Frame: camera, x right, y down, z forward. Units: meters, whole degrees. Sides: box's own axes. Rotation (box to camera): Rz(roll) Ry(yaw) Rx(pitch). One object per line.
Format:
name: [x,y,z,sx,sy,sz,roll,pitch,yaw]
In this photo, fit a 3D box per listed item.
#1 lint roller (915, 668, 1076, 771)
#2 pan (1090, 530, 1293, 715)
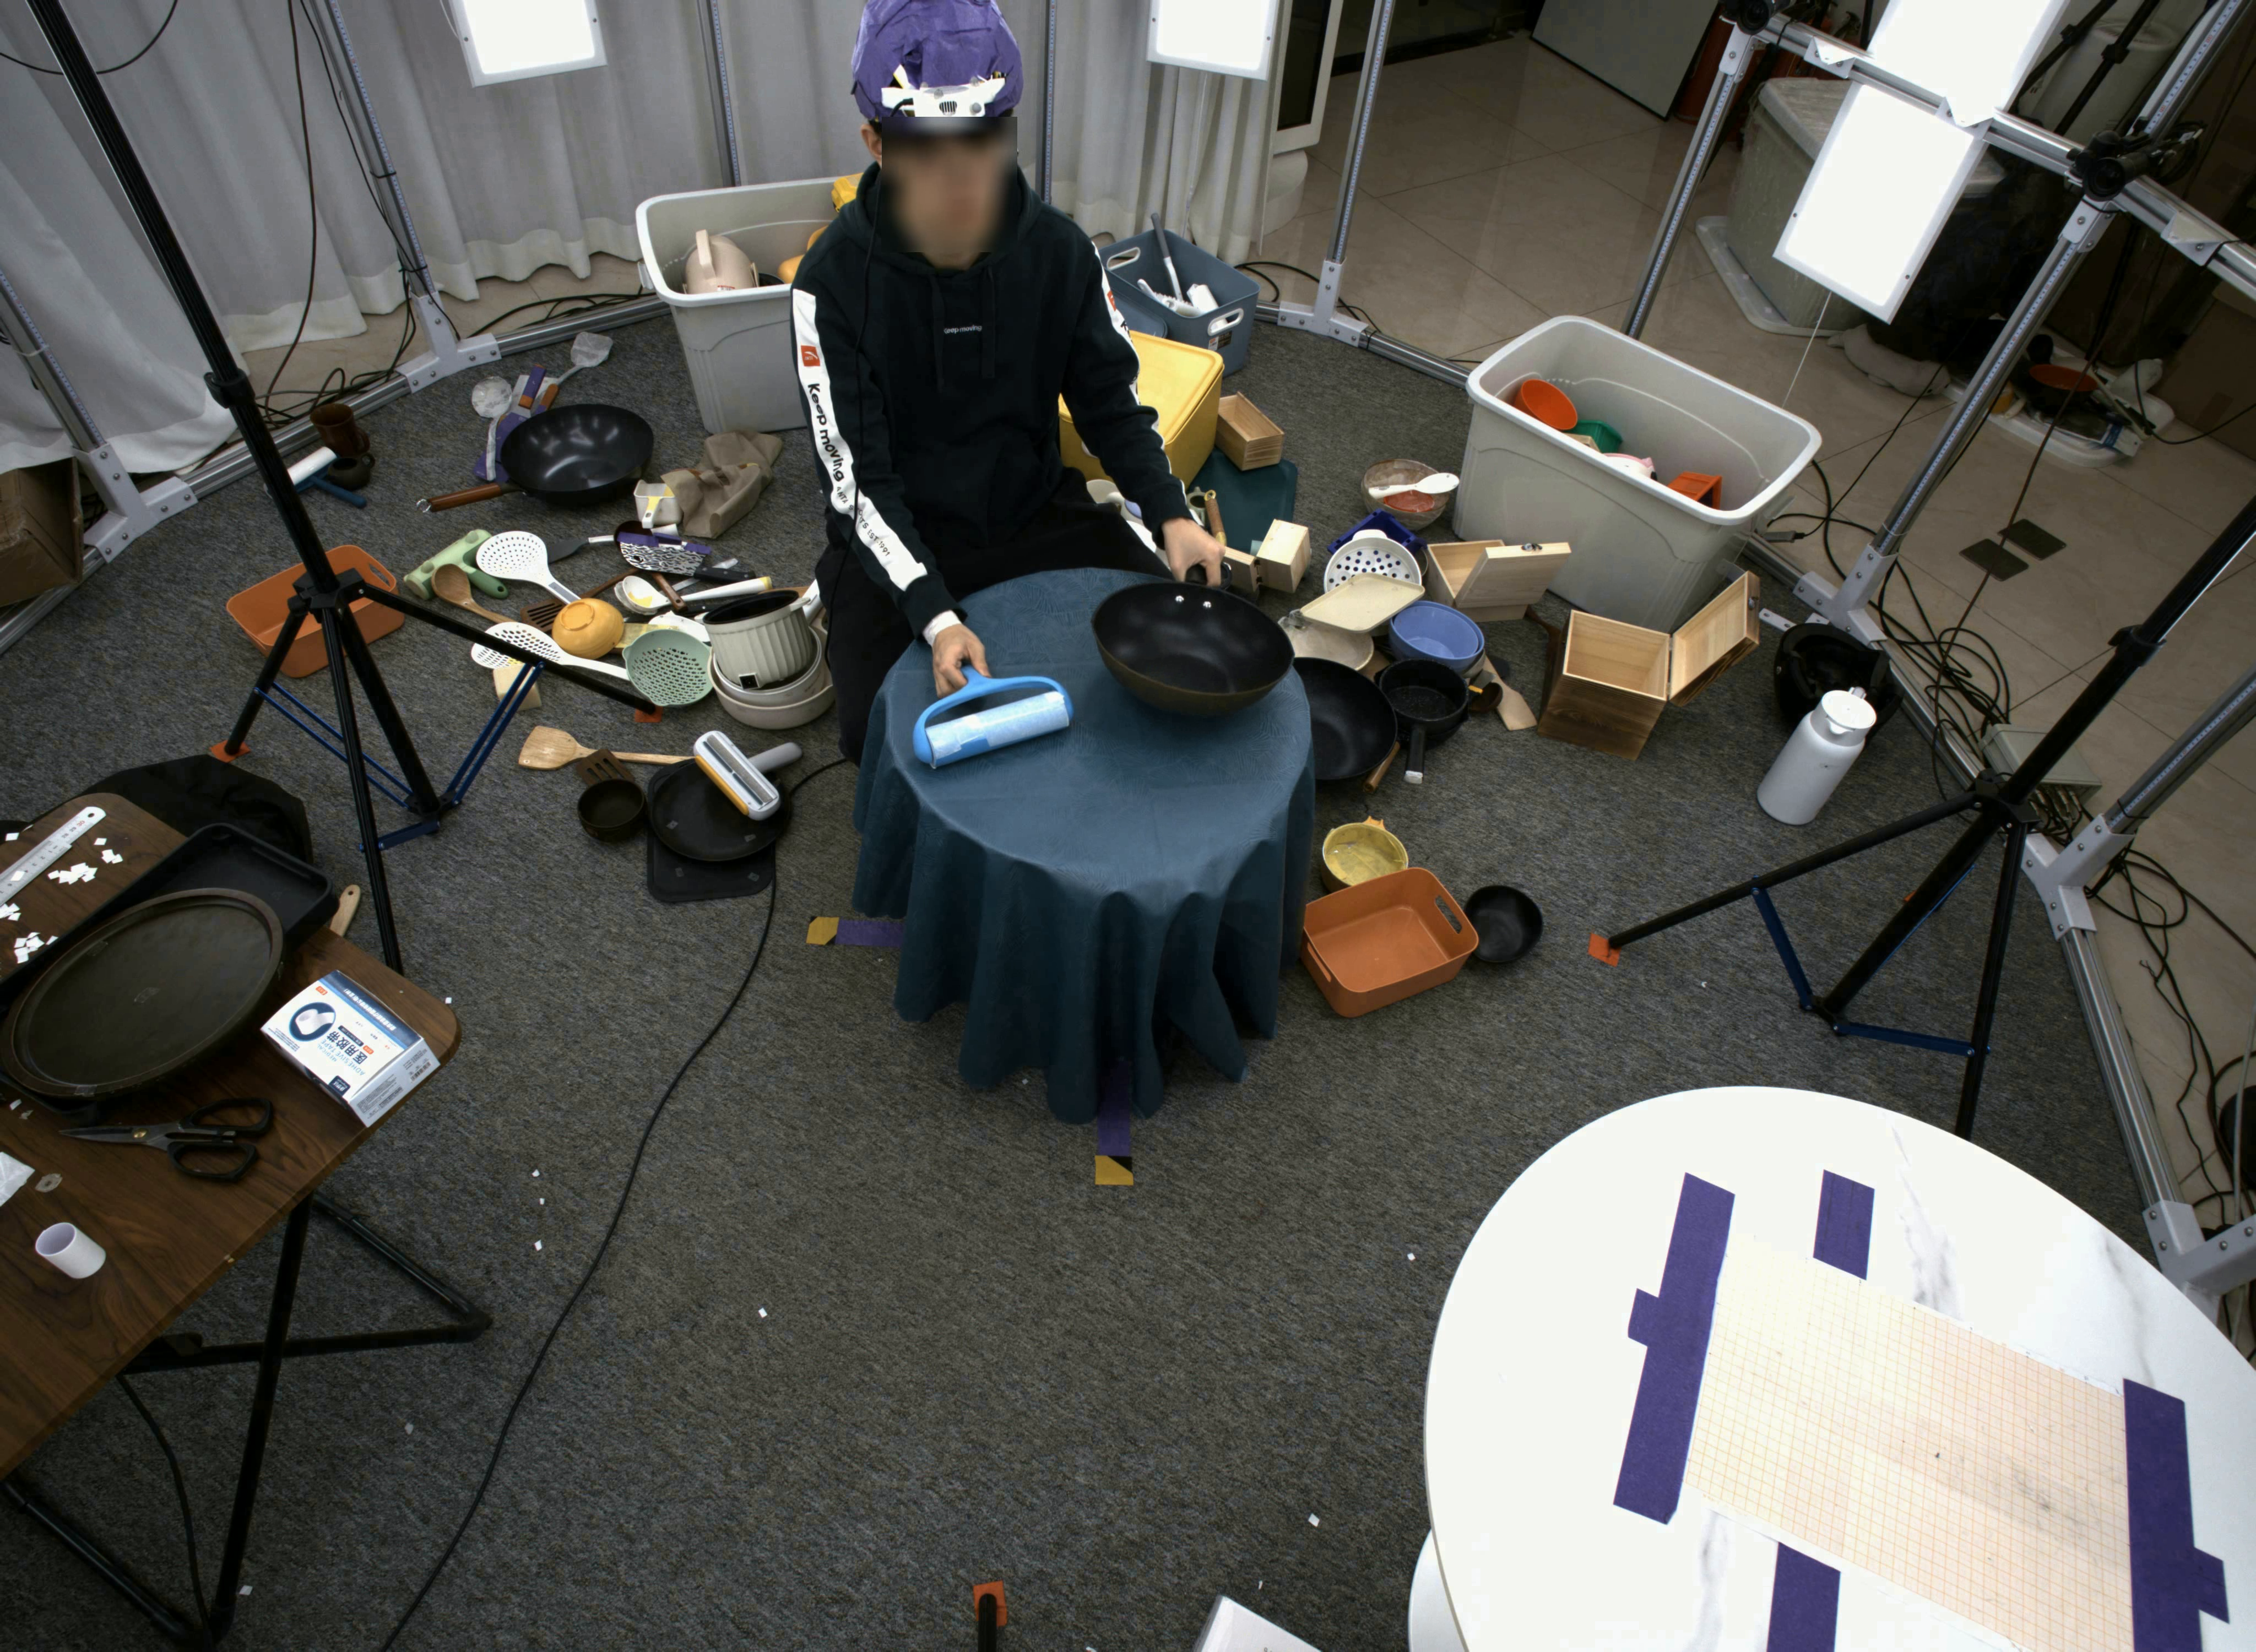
lint roller: [-0.205,-0.172,1.768,0.229,0.066,0.184,-23,55,-19]
pan: [0.089,-0.295,1.870,0.288,0.085,0.474,10,38,-3]
